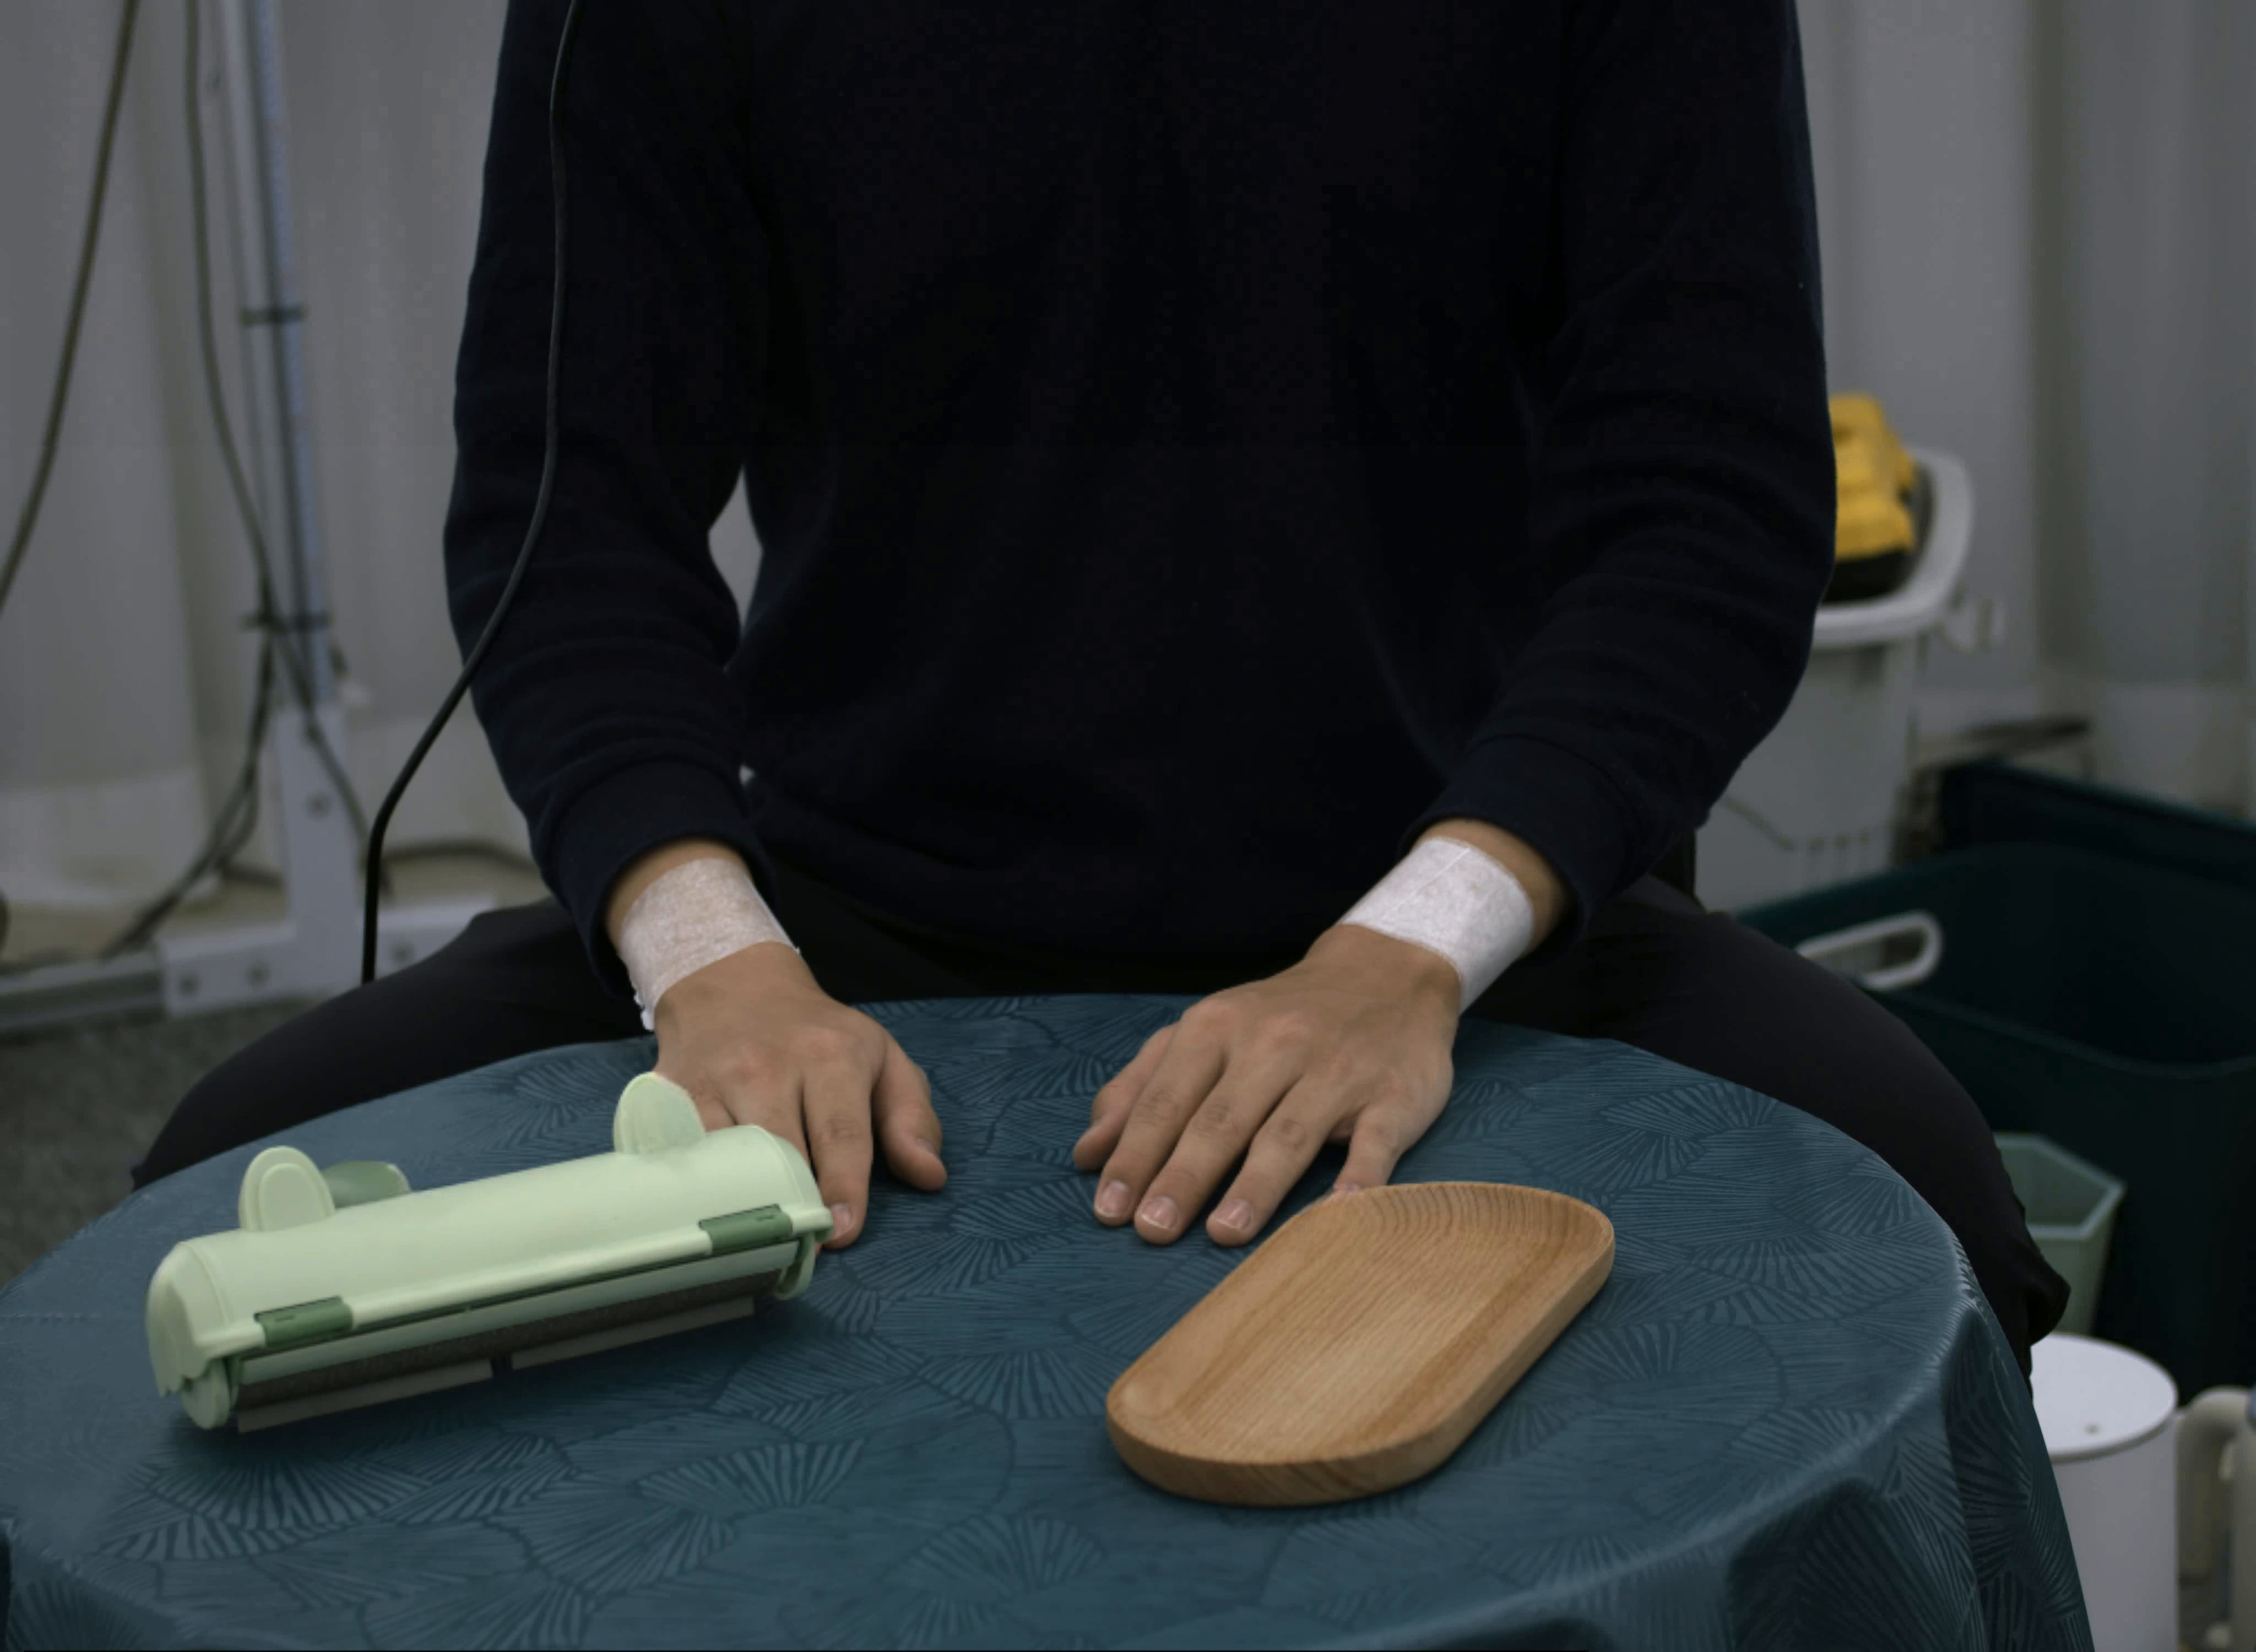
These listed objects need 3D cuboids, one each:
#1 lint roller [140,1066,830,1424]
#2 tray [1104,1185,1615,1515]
[{"bbox_3d":[-0.212,0.105,1.627,0.198,0.082,0.185,-10,22,-27],"label":"lint roller"},{"bbox_3d":[0.069,0.147,1.552,0.102,0.020,0.232,2,17,22],"label":"tray"}]
